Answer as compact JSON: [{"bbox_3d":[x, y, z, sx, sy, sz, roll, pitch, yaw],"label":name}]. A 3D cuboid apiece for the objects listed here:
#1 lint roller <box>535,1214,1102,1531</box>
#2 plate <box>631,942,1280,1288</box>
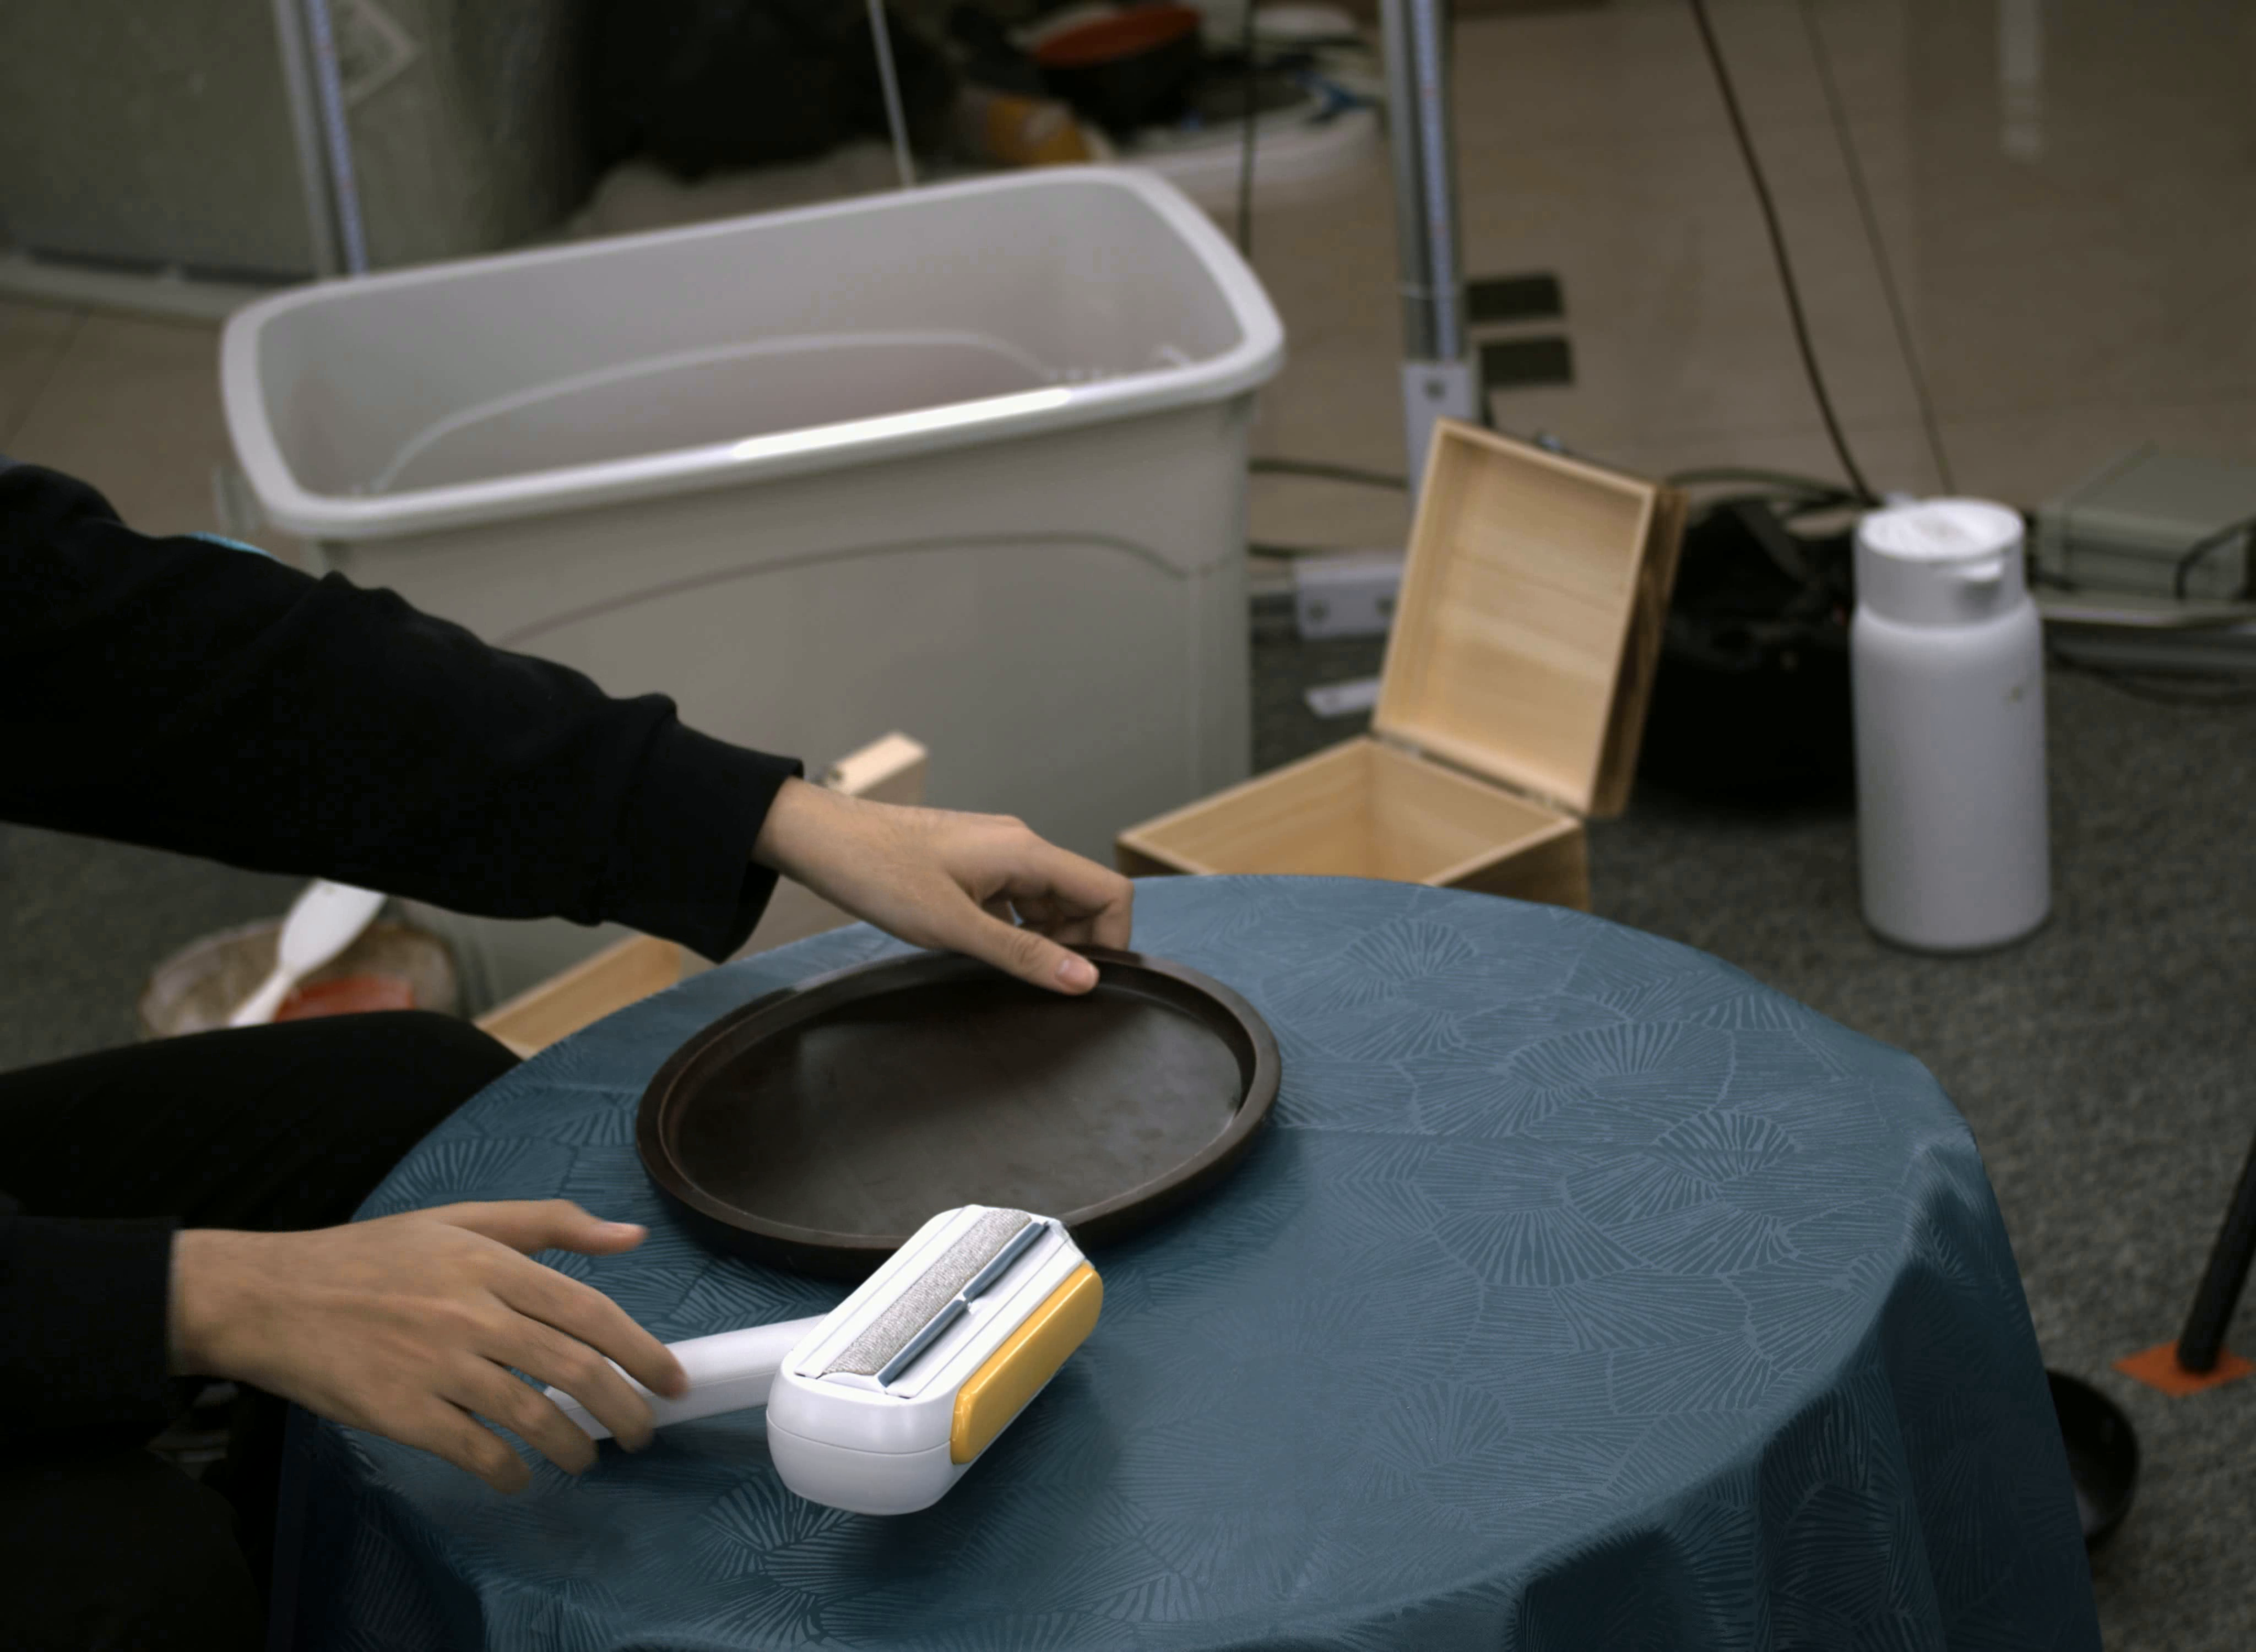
[{"bbox_3d":[-0.122,0.190,1.985,0.192,0.075,0.190,3,21,22],"label":"lint roller"},{"bbox_3d":[-0.066,0.110,2.195,0.254,0.029,0.251,-7,25,3],"label":"plate"}]
